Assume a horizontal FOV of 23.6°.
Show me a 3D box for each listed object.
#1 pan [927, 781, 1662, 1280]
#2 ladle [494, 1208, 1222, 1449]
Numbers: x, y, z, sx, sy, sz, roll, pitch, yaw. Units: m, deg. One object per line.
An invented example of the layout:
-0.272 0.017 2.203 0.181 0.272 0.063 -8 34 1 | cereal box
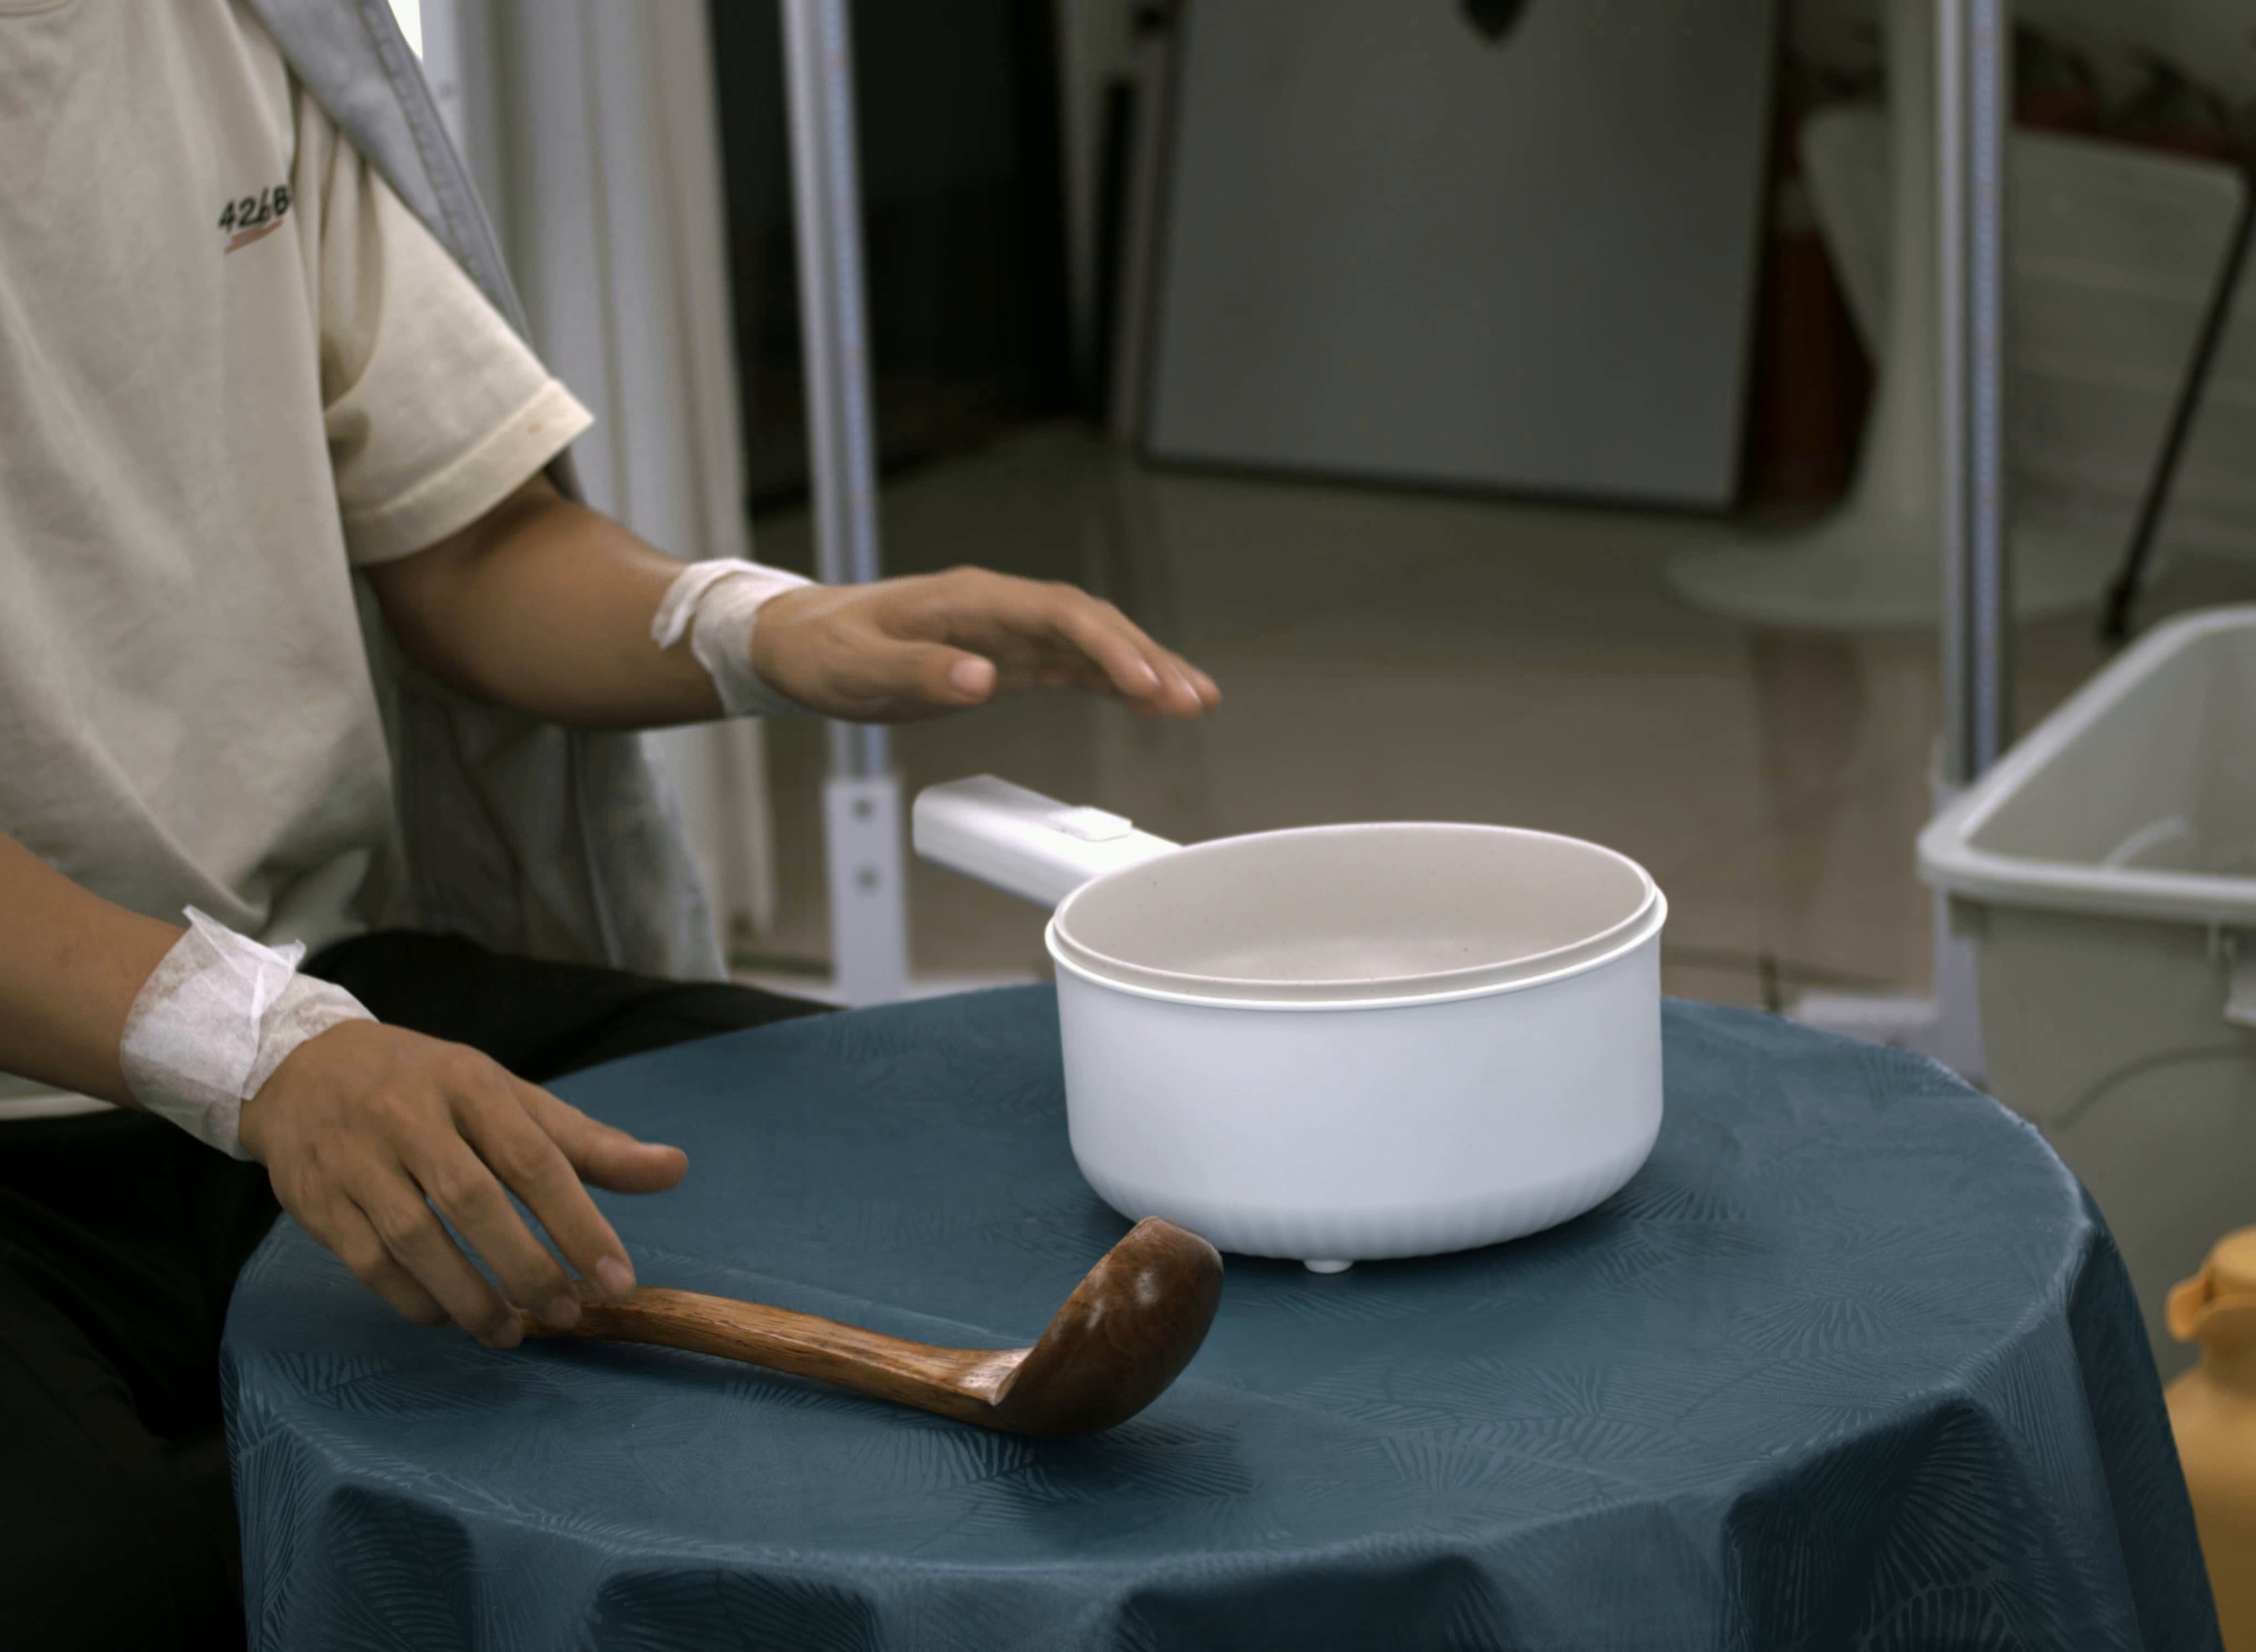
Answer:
0.035 0.061 1.806 0.197 0.103 0.358 -13 16 -29 | pan
-0.090 0.132 1.593 0.276 0.077 0.080 9 20 38 | ladle
